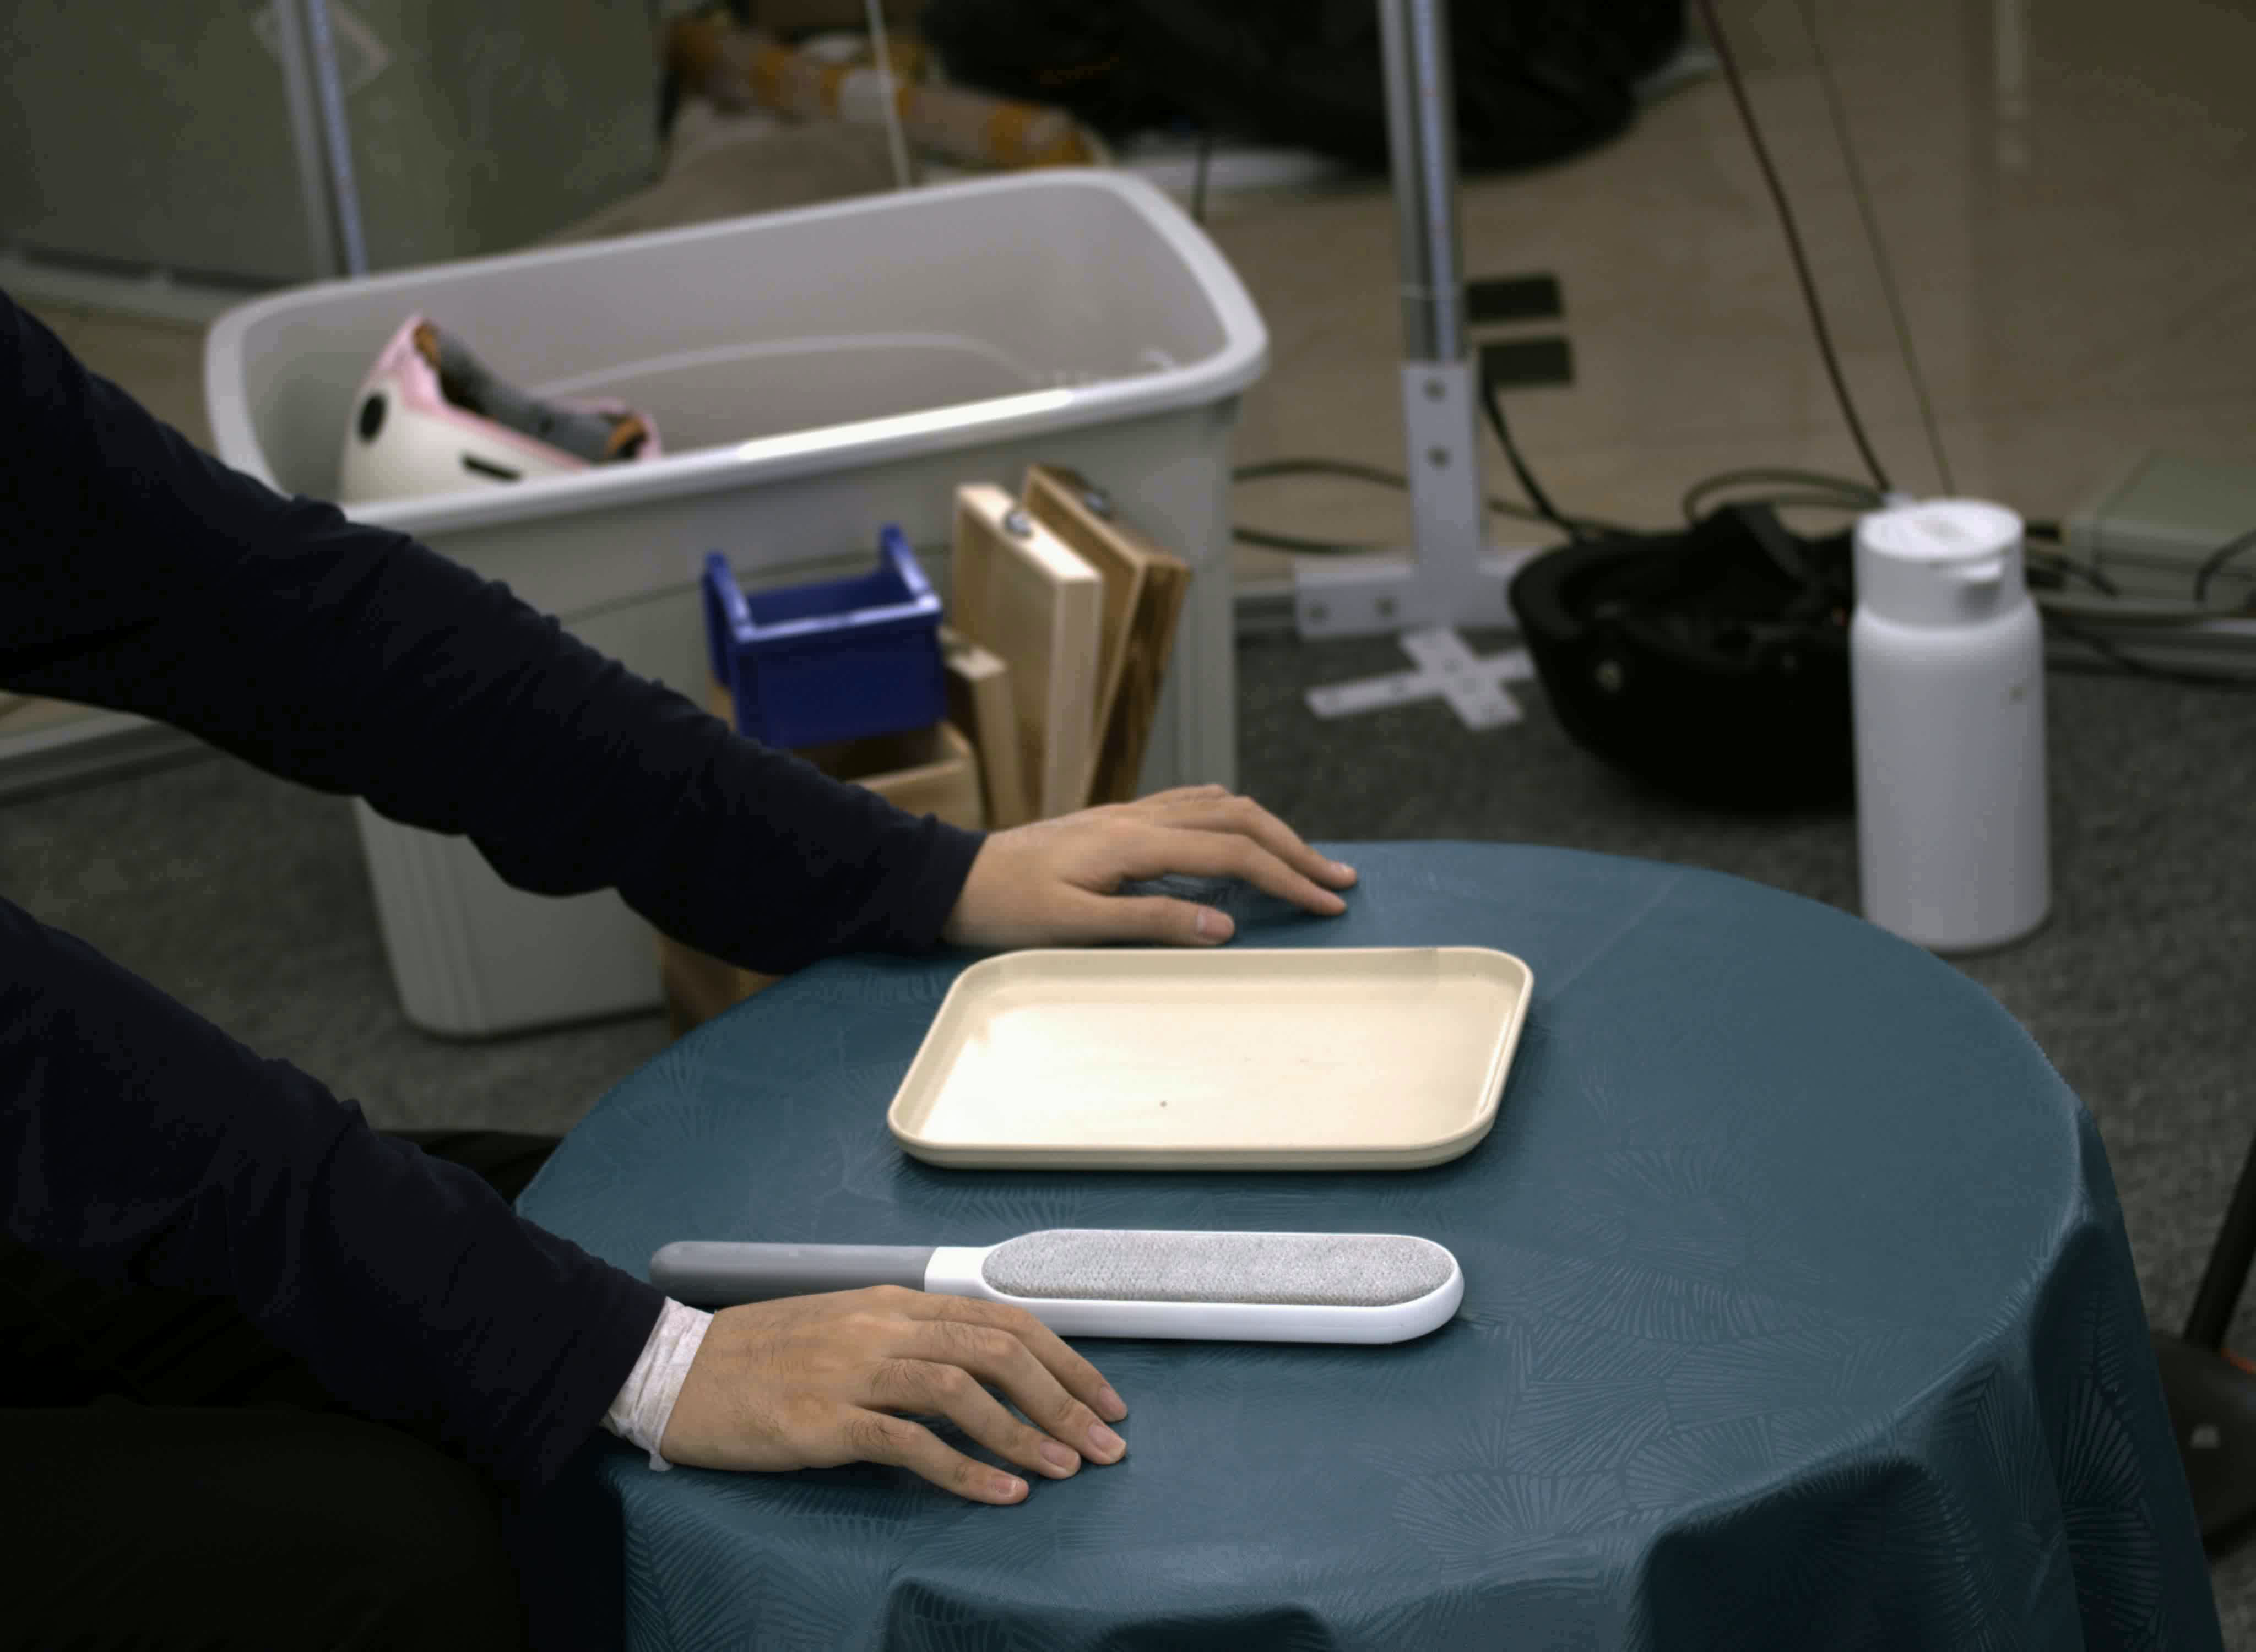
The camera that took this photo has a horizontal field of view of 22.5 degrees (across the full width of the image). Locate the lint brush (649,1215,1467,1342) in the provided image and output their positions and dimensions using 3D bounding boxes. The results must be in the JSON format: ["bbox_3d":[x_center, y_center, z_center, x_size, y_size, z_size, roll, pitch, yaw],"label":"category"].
[{"bbox_3d":[-0.029,0.163,2.075,0.308,0.021,0.059,0,31,15],"label":"lint brush"}]

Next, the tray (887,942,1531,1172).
[{"bbox_3d":[0.034,0.092,2.224,0.239,0.018,0.169,-1,26,13],"label":"tray"}]
